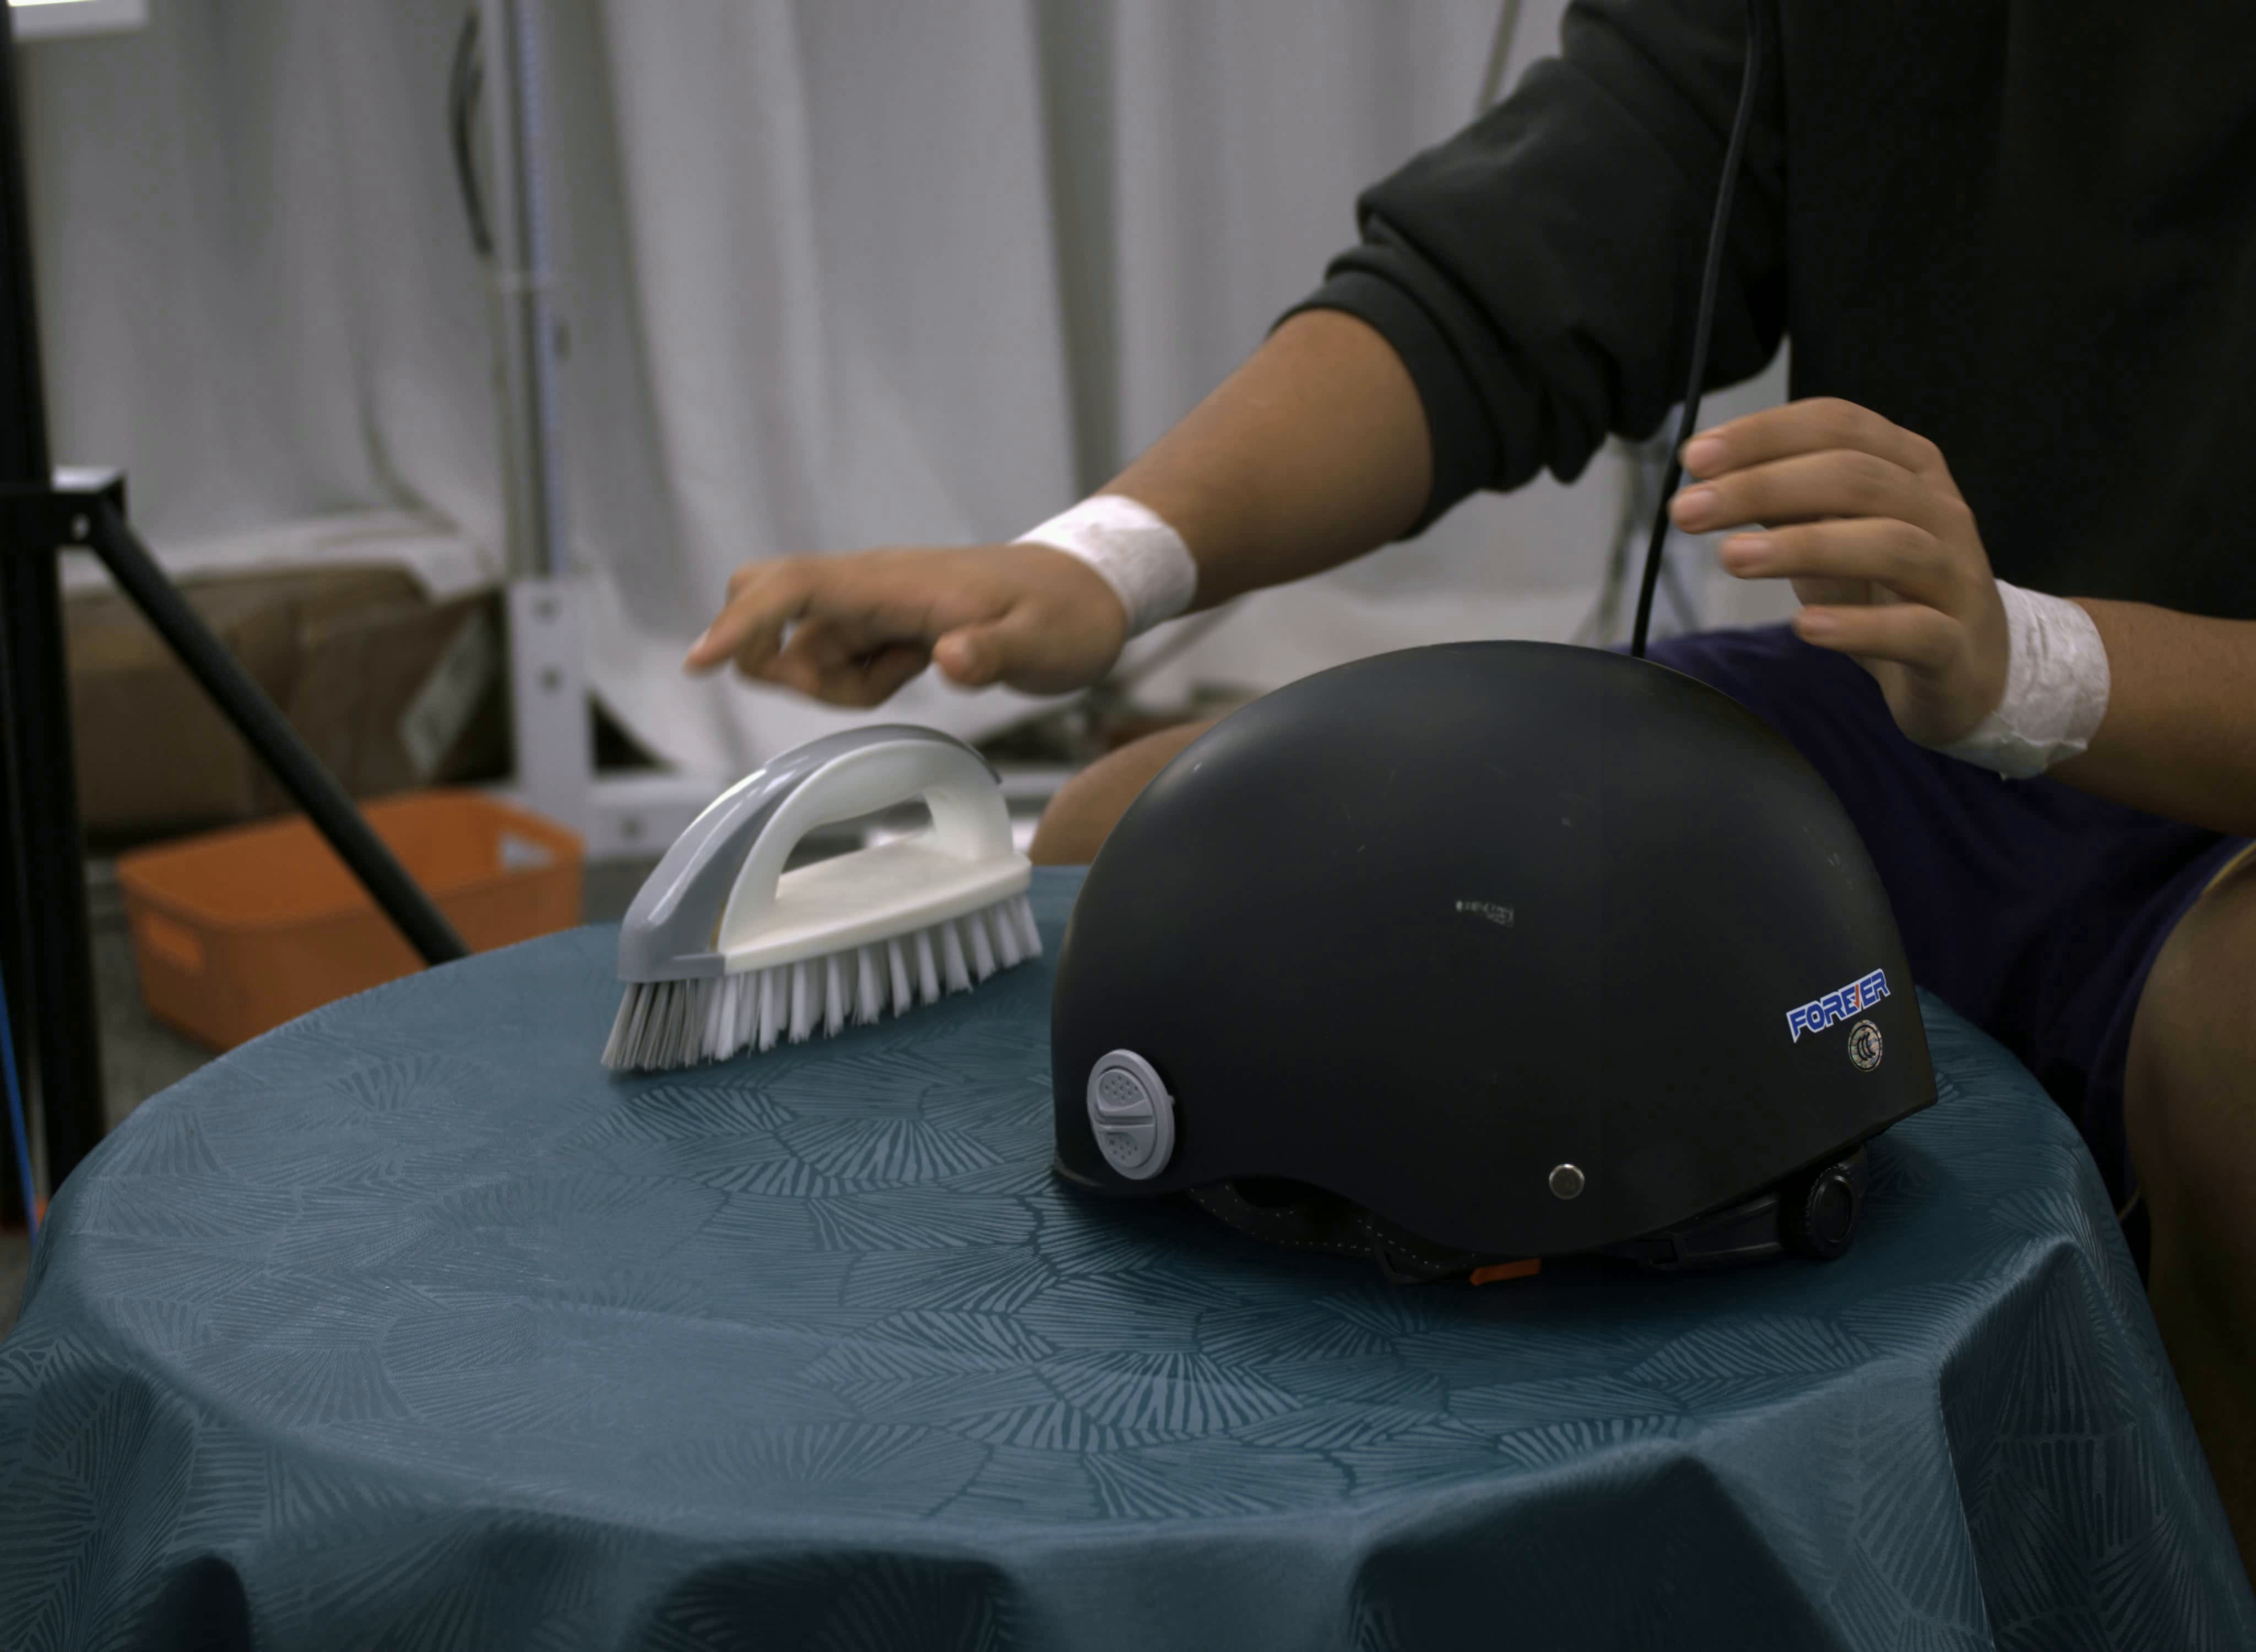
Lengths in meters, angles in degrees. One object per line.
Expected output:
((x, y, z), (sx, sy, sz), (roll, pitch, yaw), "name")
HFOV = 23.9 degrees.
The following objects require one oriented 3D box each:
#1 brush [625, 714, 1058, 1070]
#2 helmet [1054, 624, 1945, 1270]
((-0.101, 0.018, 1.730), (0.063, 0.094, 0.171), (8, 20, 44), "brush")
((0.101, 0.026, 1.540), (0.279, 0.167, 0.225), (9, 19, 43), "helmet")
